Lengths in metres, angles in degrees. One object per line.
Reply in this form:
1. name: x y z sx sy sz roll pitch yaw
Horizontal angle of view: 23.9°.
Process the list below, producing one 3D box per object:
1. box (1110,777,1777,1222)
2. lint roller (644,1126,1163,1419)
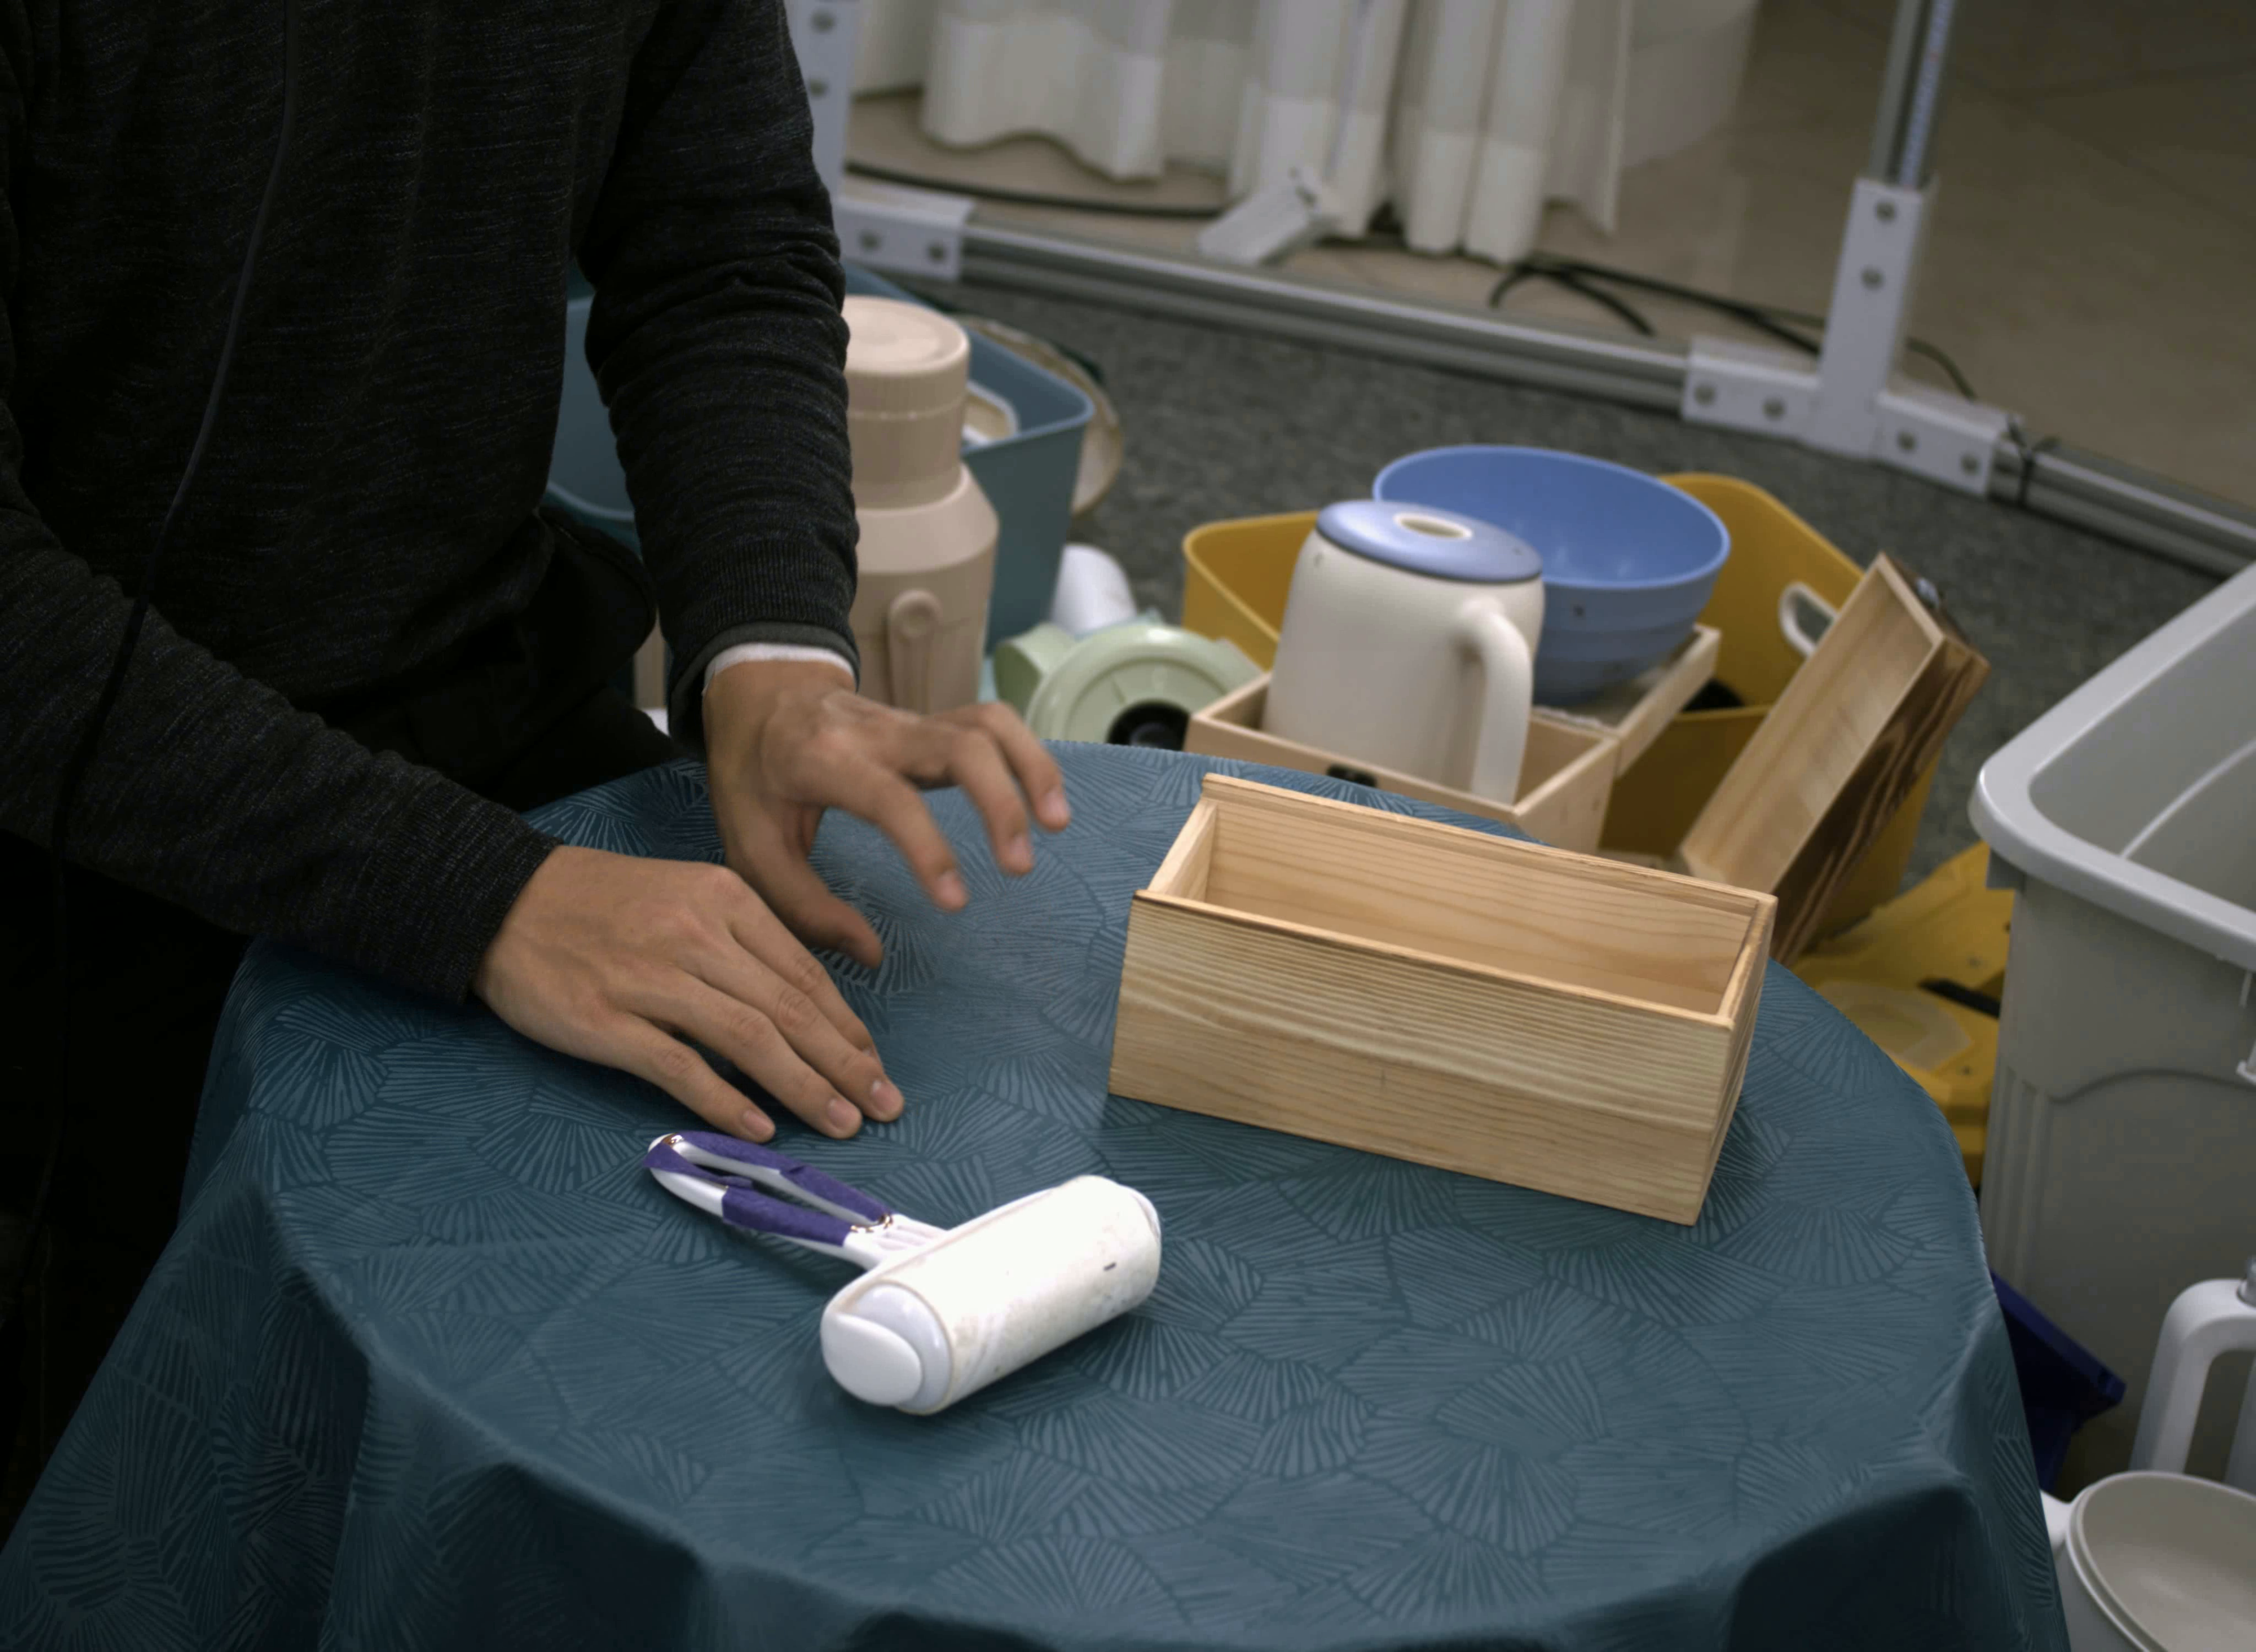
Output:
1. box: 0.111 0.059 1.865 0.211 0.080 0.108 11 27 11
2. lint roller: -0.088 0.124 1.730 0.182 0.050 0.132 29 35 34
